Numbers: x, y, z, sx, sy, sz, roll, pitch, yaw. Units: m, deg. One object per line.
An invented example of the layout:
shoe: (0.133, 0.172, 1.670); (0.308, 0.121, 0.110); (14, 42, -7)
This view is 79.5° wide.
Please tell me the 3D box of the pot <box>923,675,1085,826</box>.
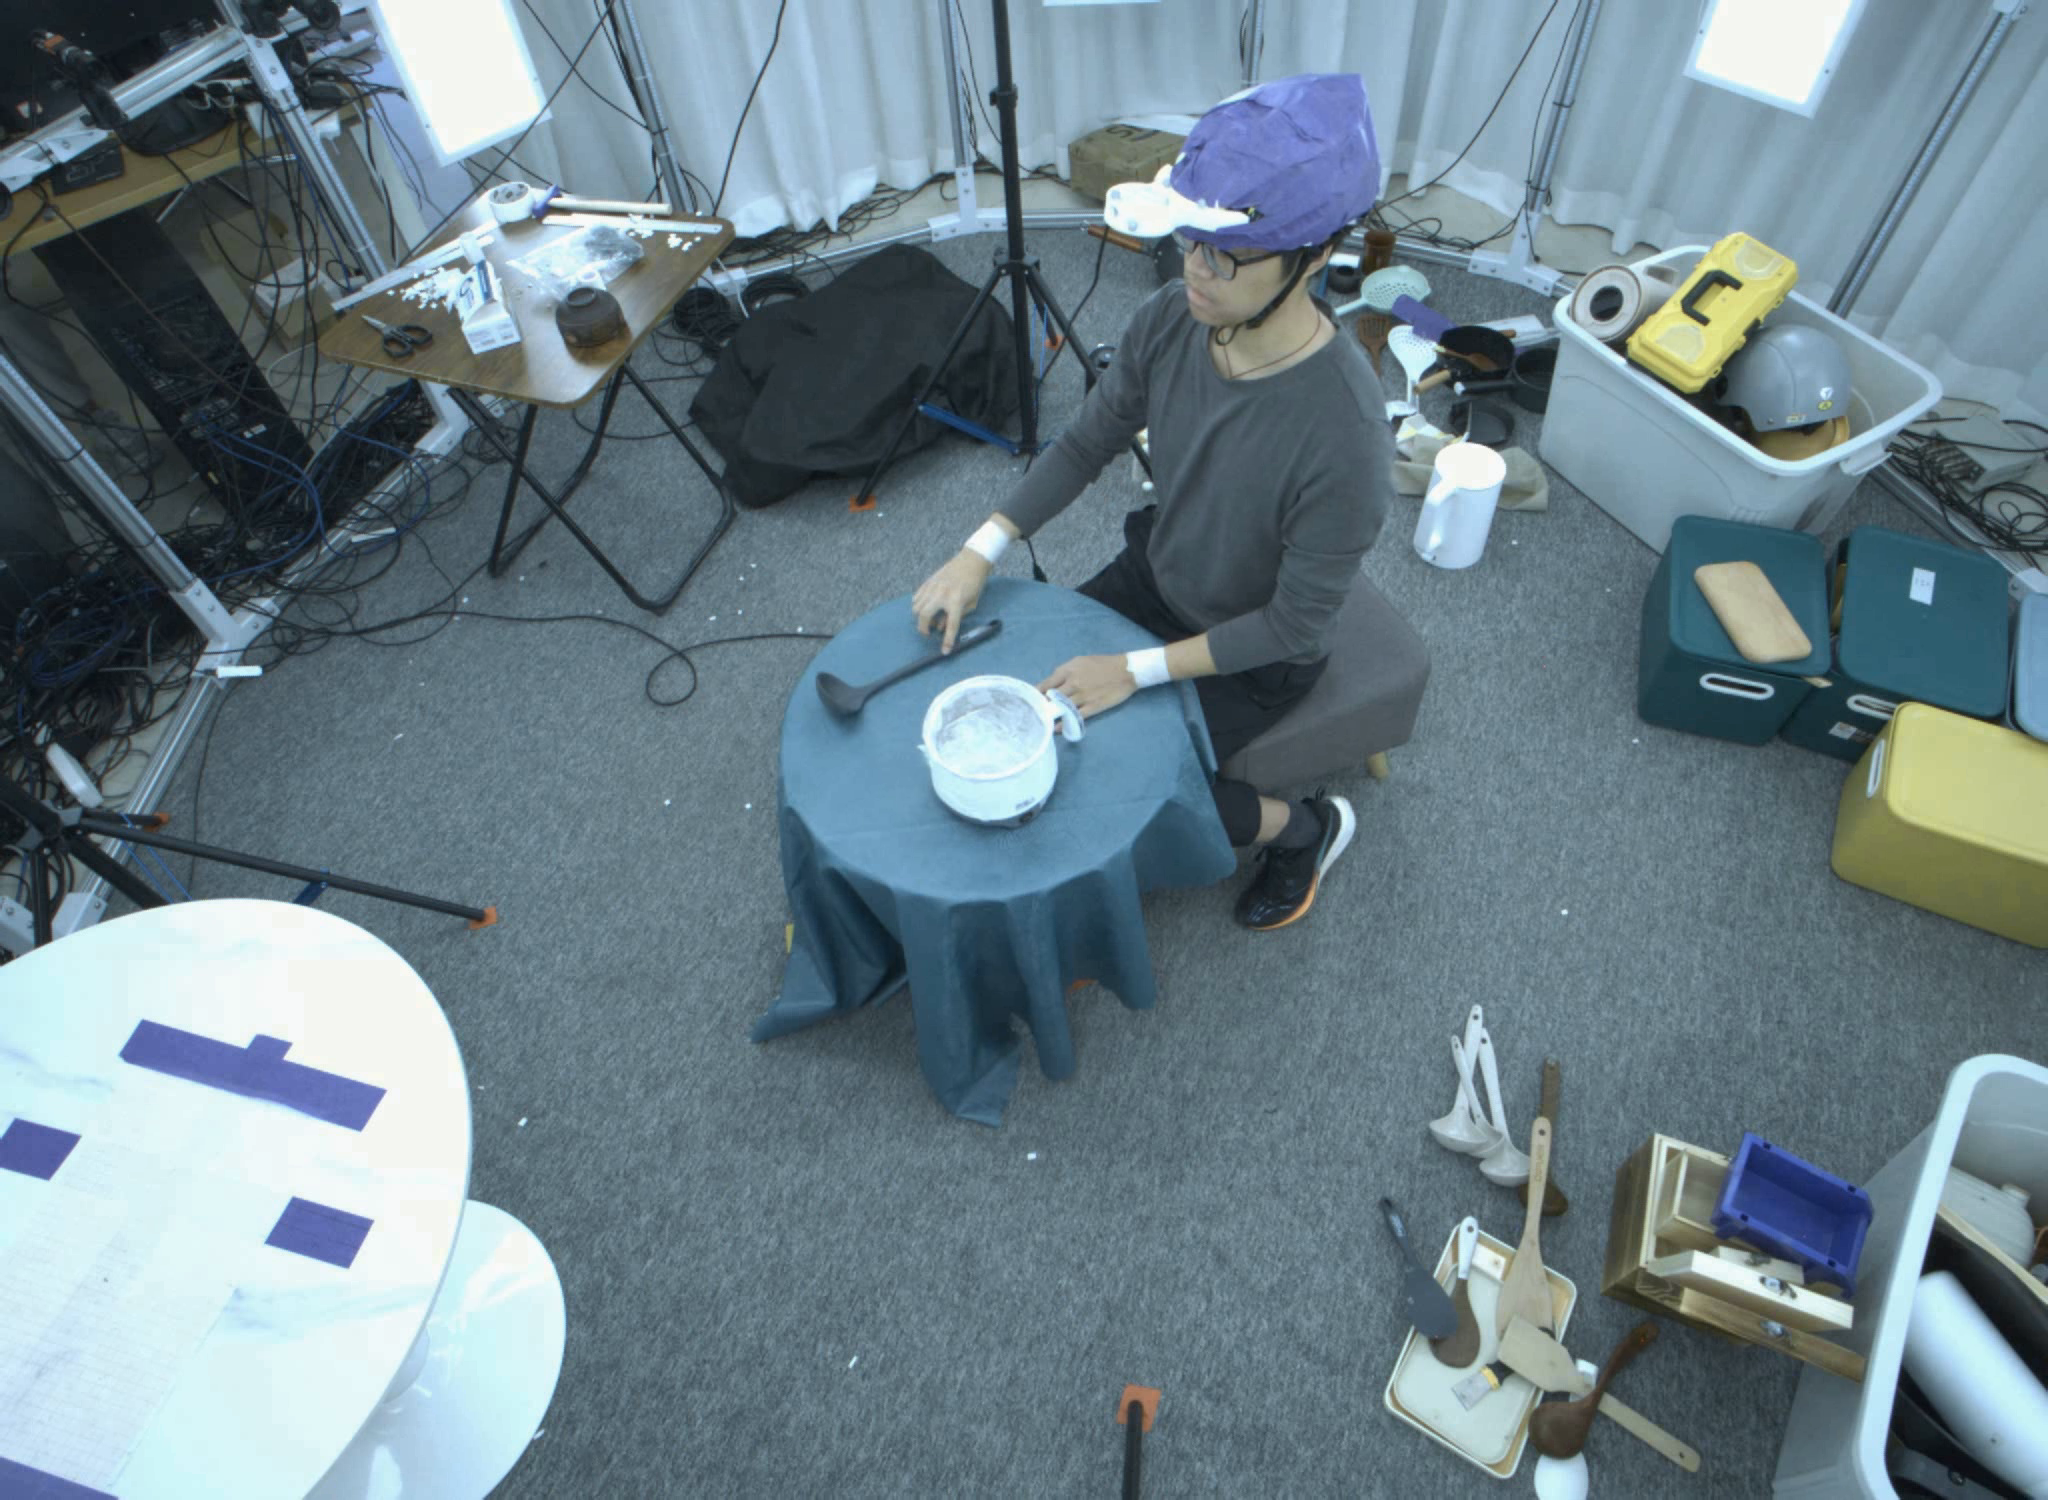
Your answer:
pot: (-0.021, -0.009, 1.717); (0.235, 0.138, 0.175); (-28, 58, -17)

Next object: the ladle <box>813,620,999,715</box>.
ladle: (-0.173, -0.141, 1.861); (0.316, 0.064, 0.085); (-28, 64, -18)
